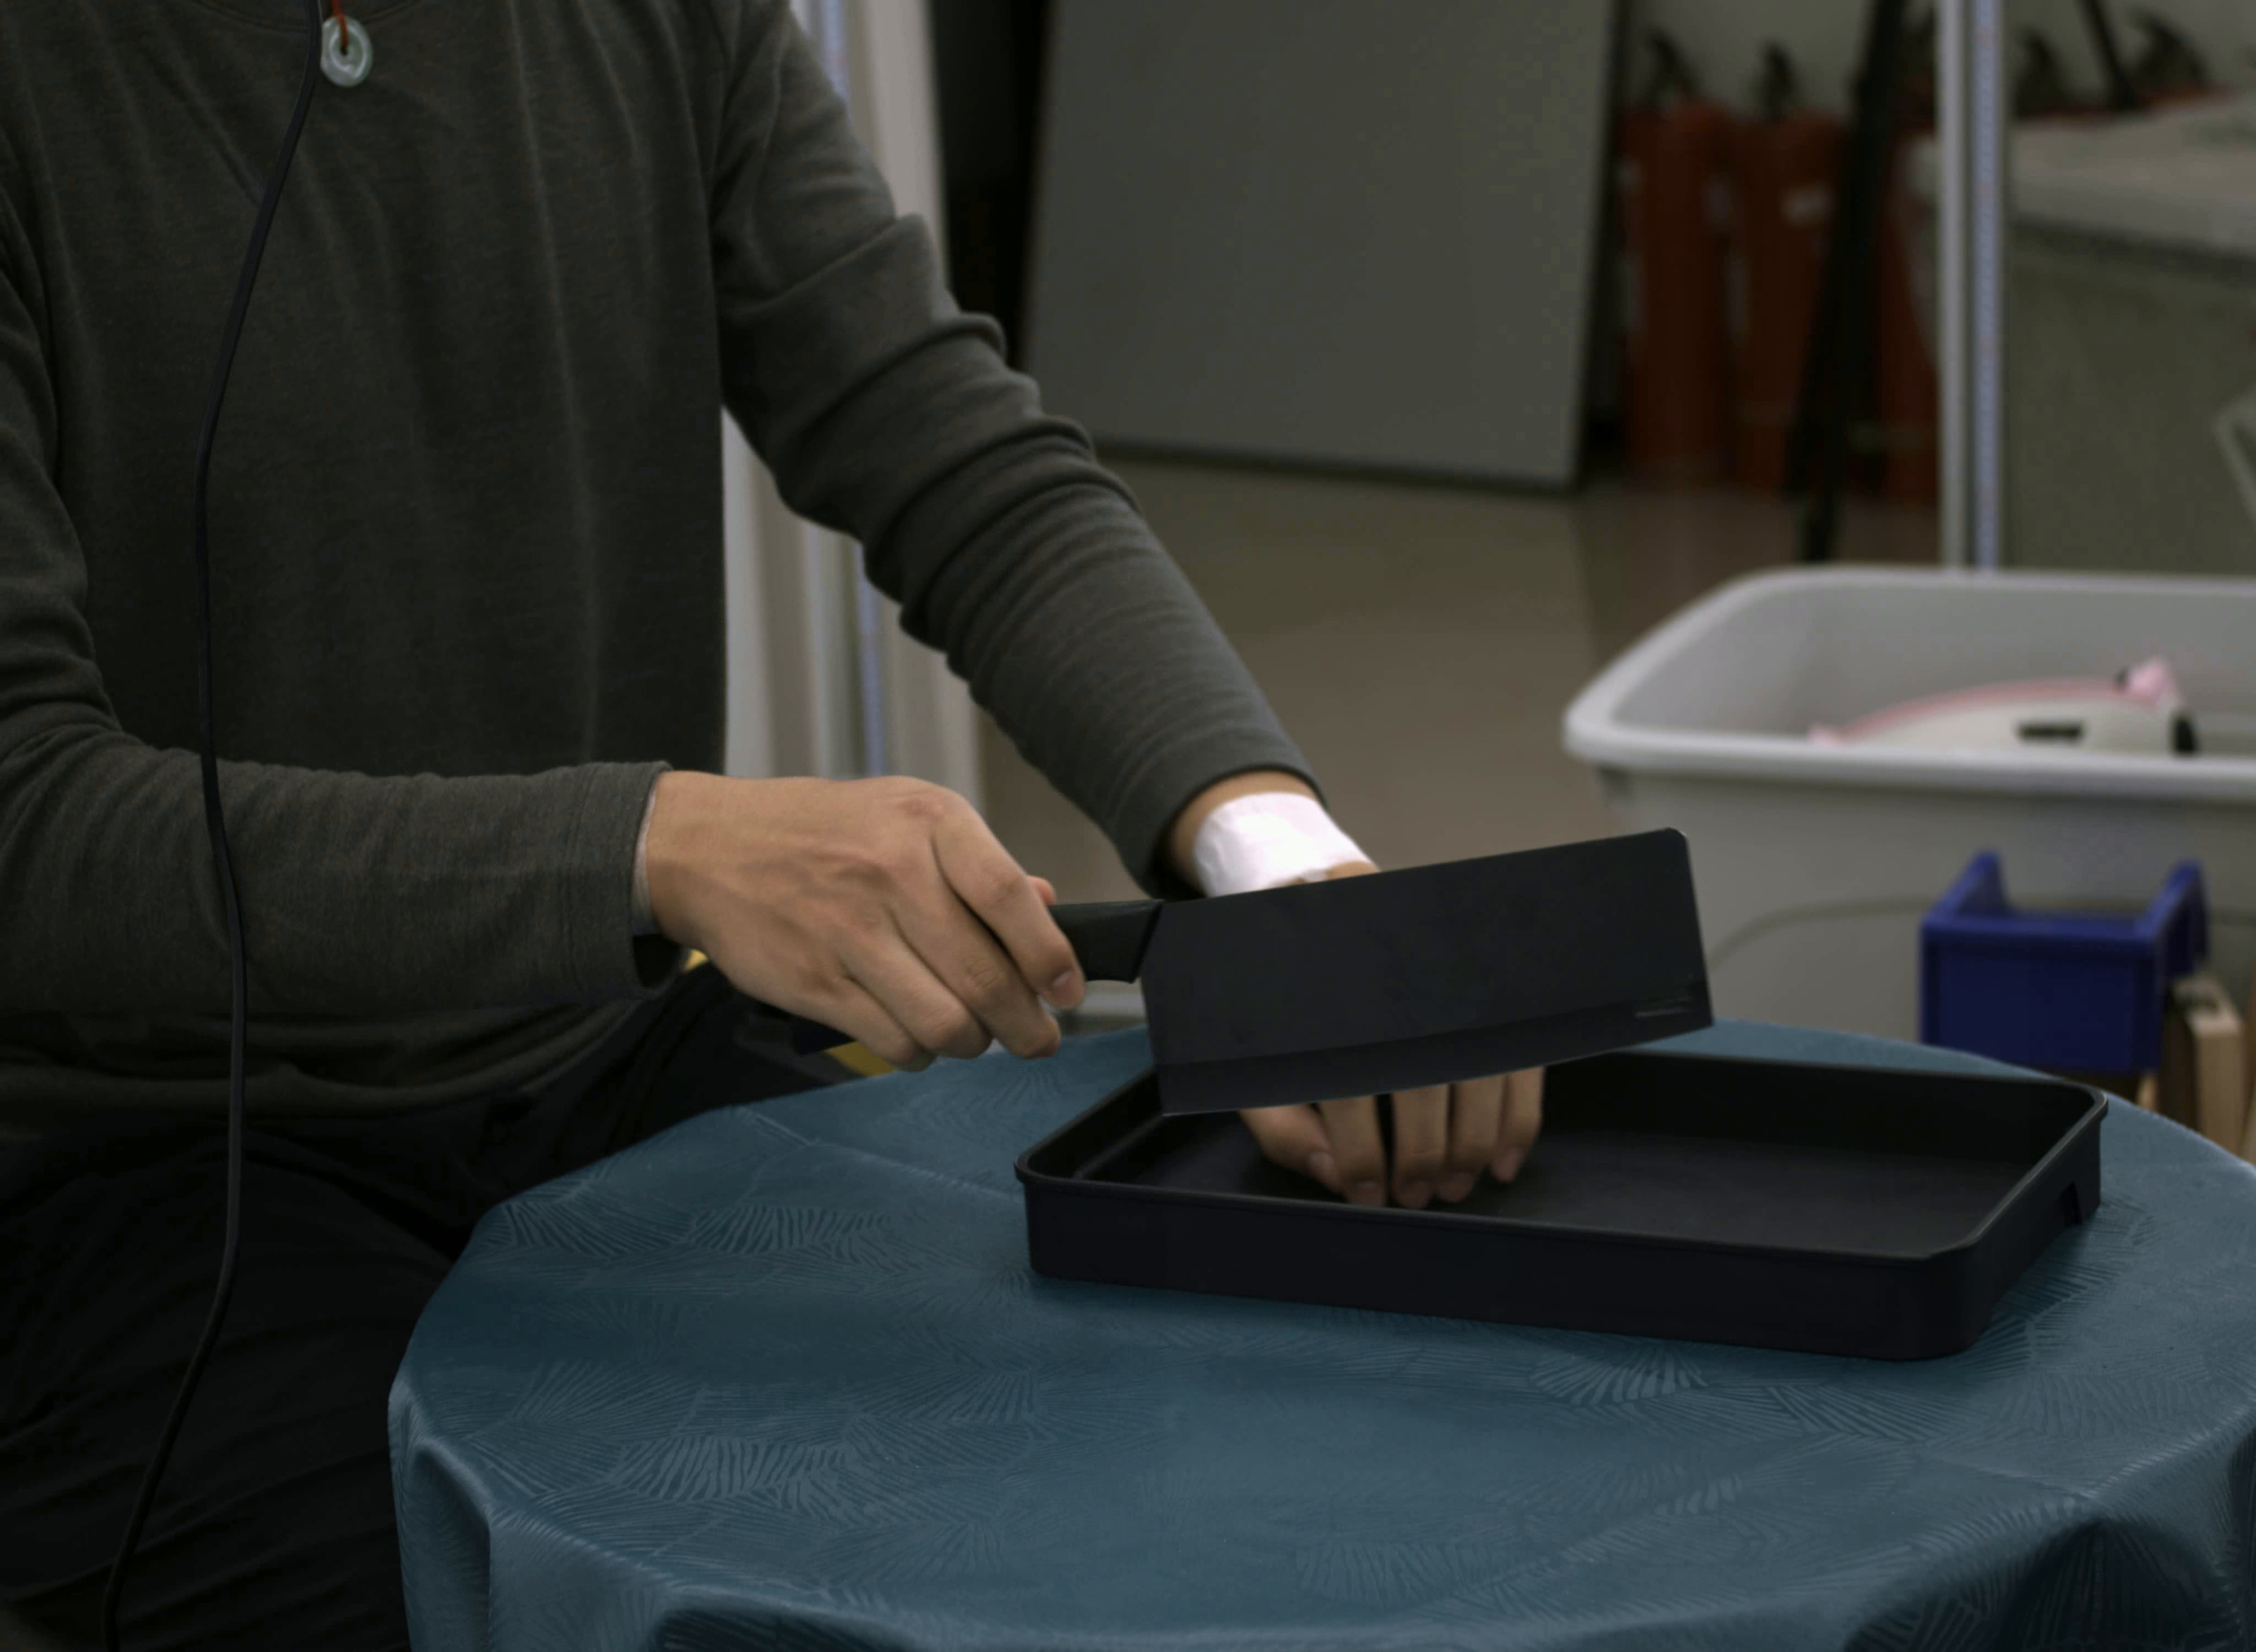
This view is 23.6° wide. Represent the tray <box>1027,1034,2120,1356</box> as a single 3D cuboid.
[{"bbox_3d":[0.141,0.111,1.697,0.318,0.037,0.182,2,15,25],"label":"tray"}]

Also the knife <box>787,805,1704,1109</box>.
[{"bbox_3d":[0.031,0.046,1.630,0.302,0.082,0.020,-5,-1,25],"label":"knife"}]
